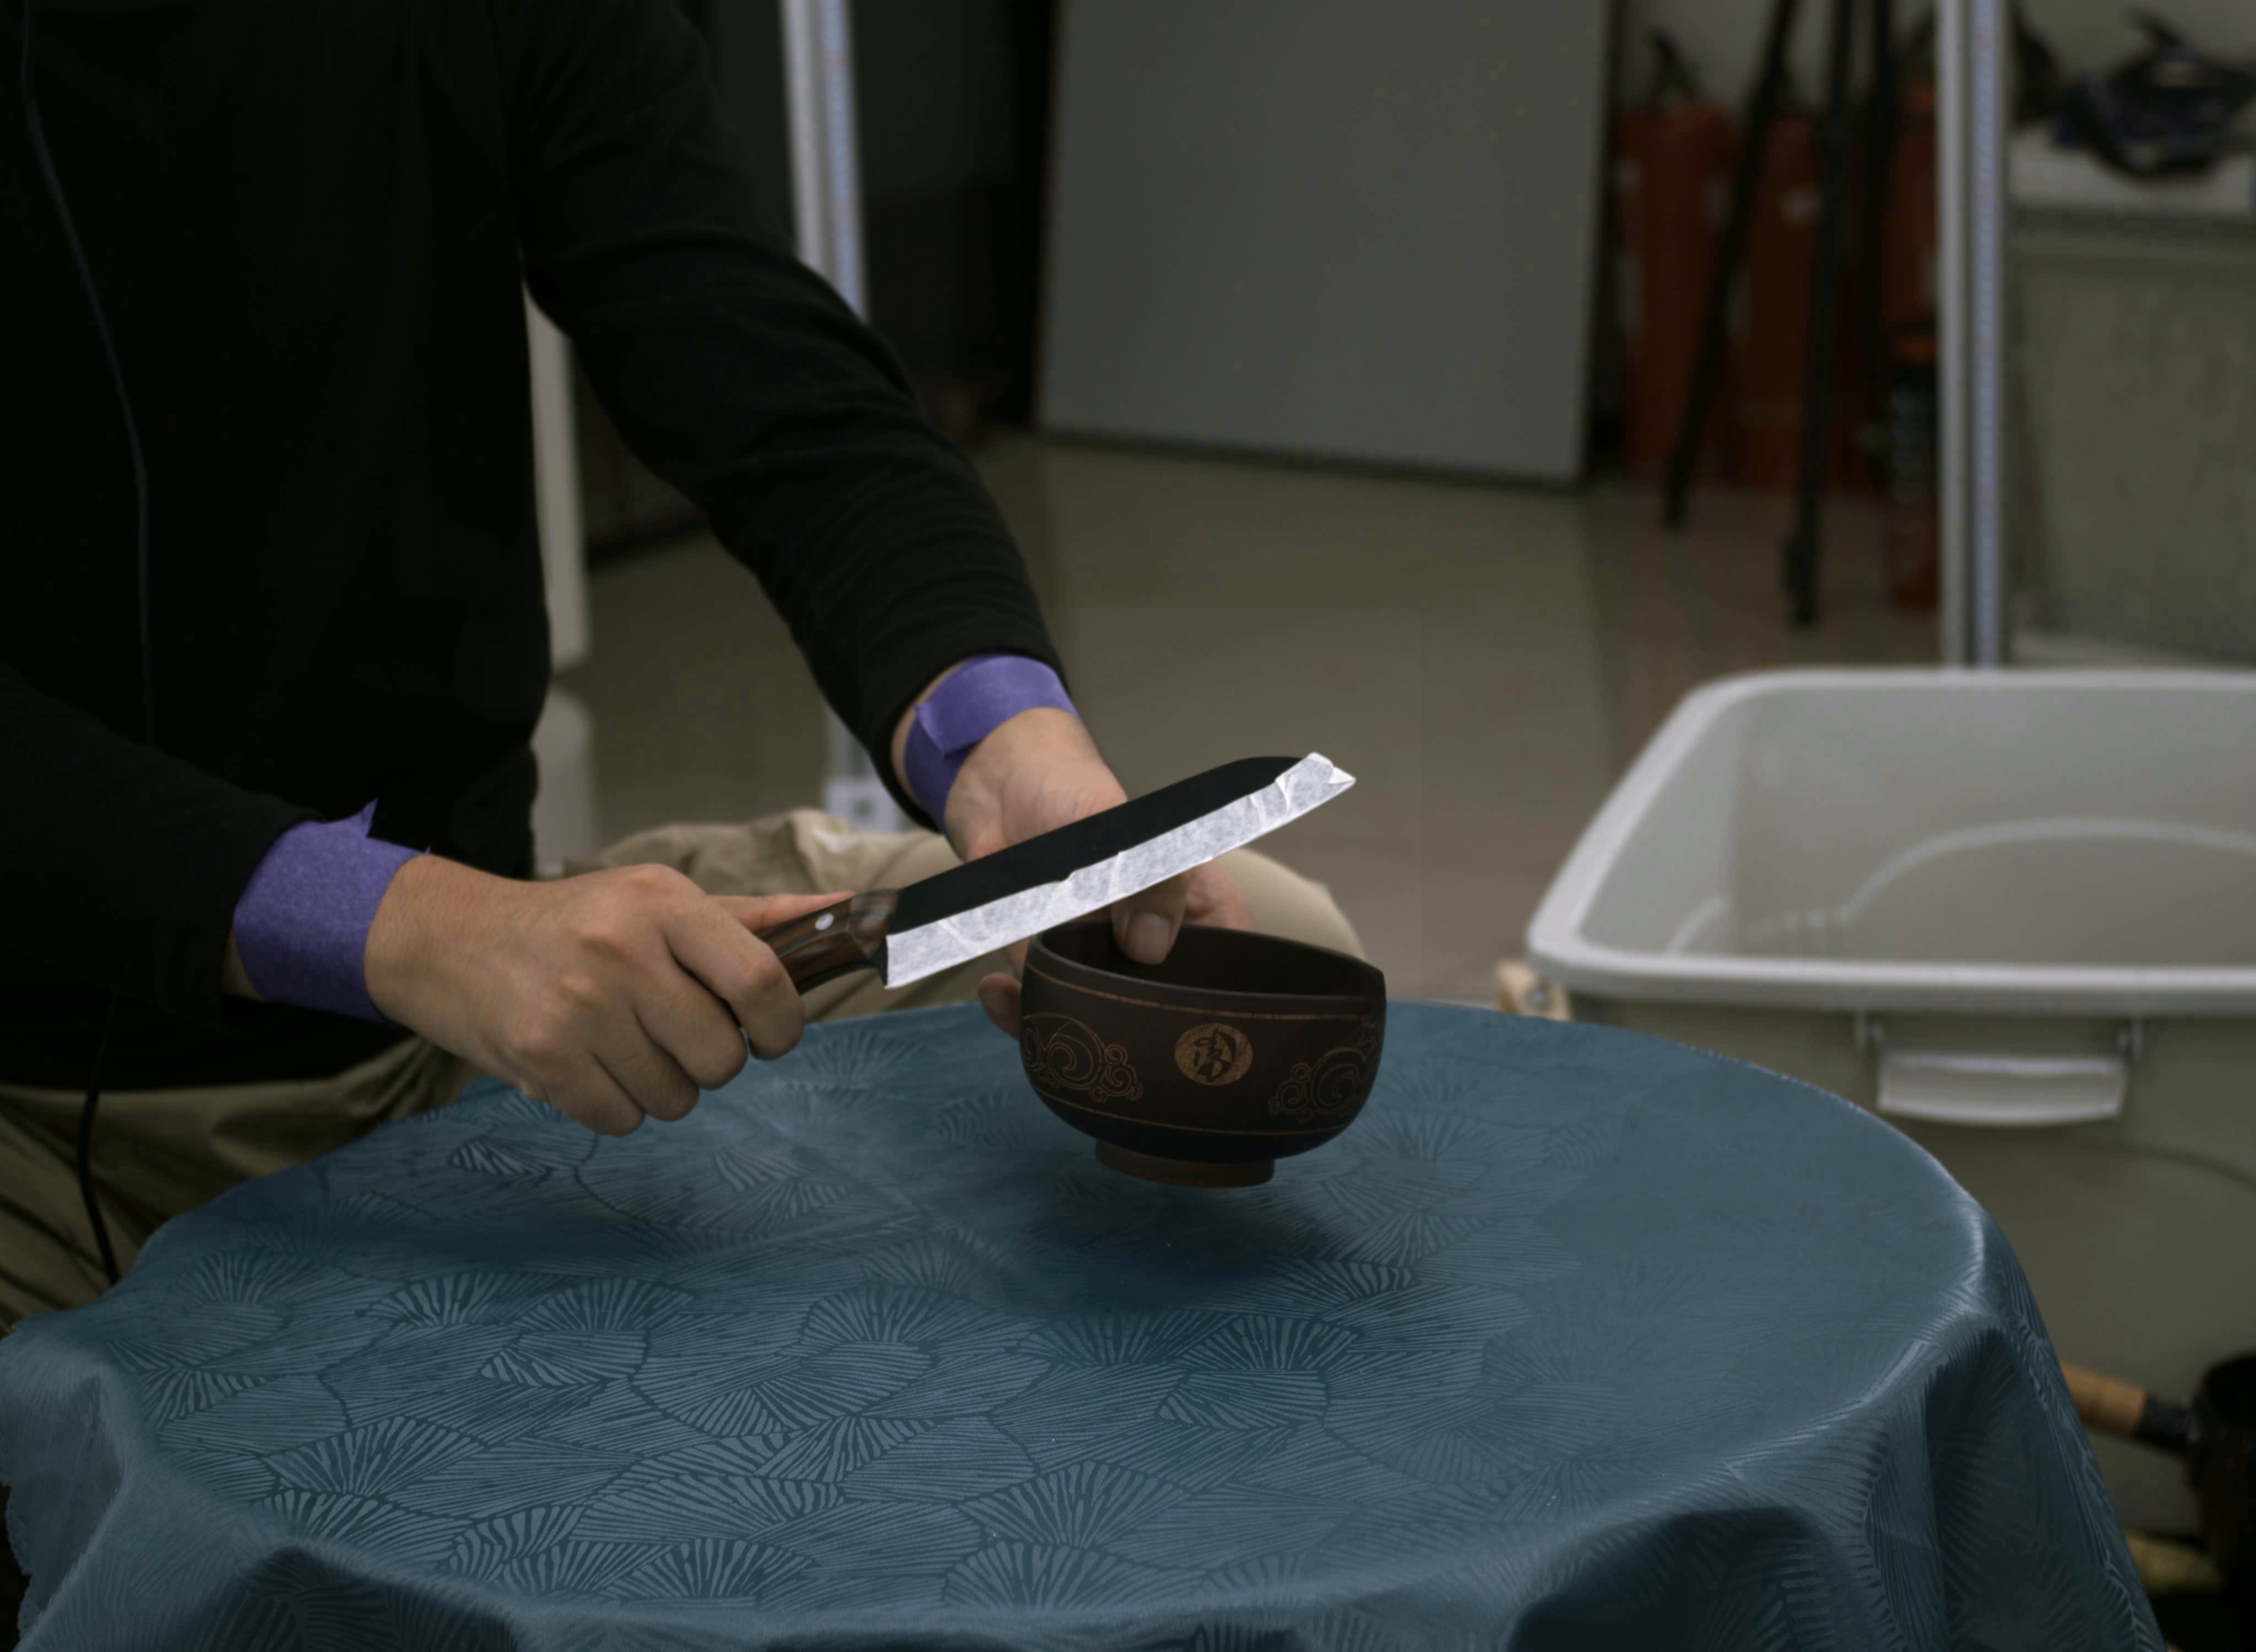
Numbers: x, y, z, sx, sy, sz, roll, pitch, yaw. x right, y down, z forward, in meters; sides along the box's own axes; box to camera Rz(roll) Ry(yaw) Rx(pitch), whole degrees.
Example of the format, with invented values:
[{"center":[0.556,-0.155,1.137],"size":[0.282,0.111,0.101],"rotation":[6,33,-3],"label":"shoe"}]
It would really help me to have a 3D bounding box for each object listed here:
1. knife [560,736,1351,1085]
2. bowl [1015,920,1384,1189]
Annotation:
[{"center":[-0.057,0.027,1.727],"size":[0.289,0.020,0.050],"rotation":[-21,42,20],"label":"knife"},{"center":[0.021,0.074,1.699],"size":[0.116,0.071,0.118],"rotation":[4,8,-1],"label":"bowl"}]
